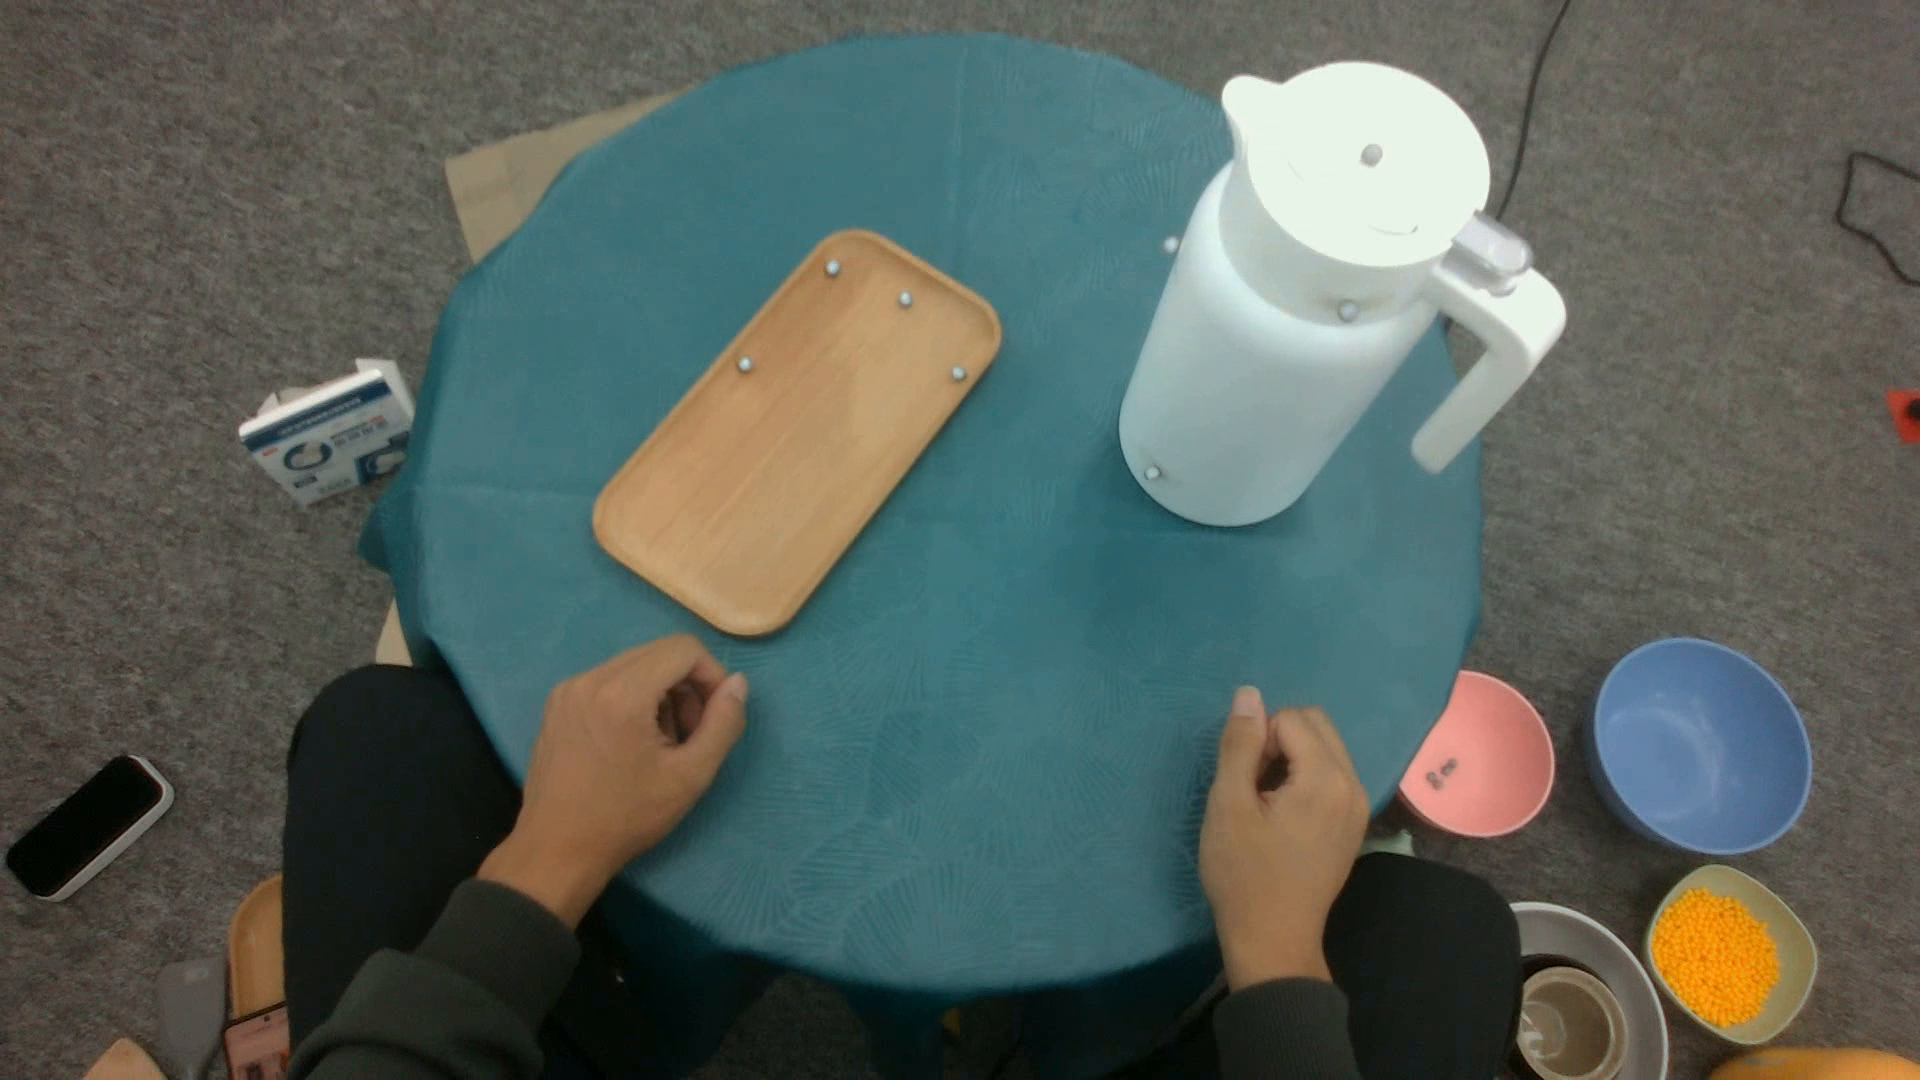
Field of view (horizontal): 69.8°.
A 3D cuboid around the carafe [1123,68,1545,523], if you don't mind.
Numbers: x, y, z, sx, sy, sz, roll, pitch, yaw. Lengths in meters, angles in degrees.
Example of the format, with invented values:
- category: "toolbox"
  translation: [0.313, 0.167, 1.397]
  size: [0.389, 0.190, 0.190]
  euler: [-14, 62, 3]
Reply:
- category: "carafe"
  translation: [0.170, -0.098, 0.682]
  size: [0.173, 0.268, 0.124]
  euler: [38, 71, 11]

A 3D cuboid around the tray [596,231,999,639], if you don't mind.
- category: "tray"
  translation: [-0.089, -0.065, 0.789]
  size: [0.130, 0.023, 0.251]
  euler: [33, 71, 12]
